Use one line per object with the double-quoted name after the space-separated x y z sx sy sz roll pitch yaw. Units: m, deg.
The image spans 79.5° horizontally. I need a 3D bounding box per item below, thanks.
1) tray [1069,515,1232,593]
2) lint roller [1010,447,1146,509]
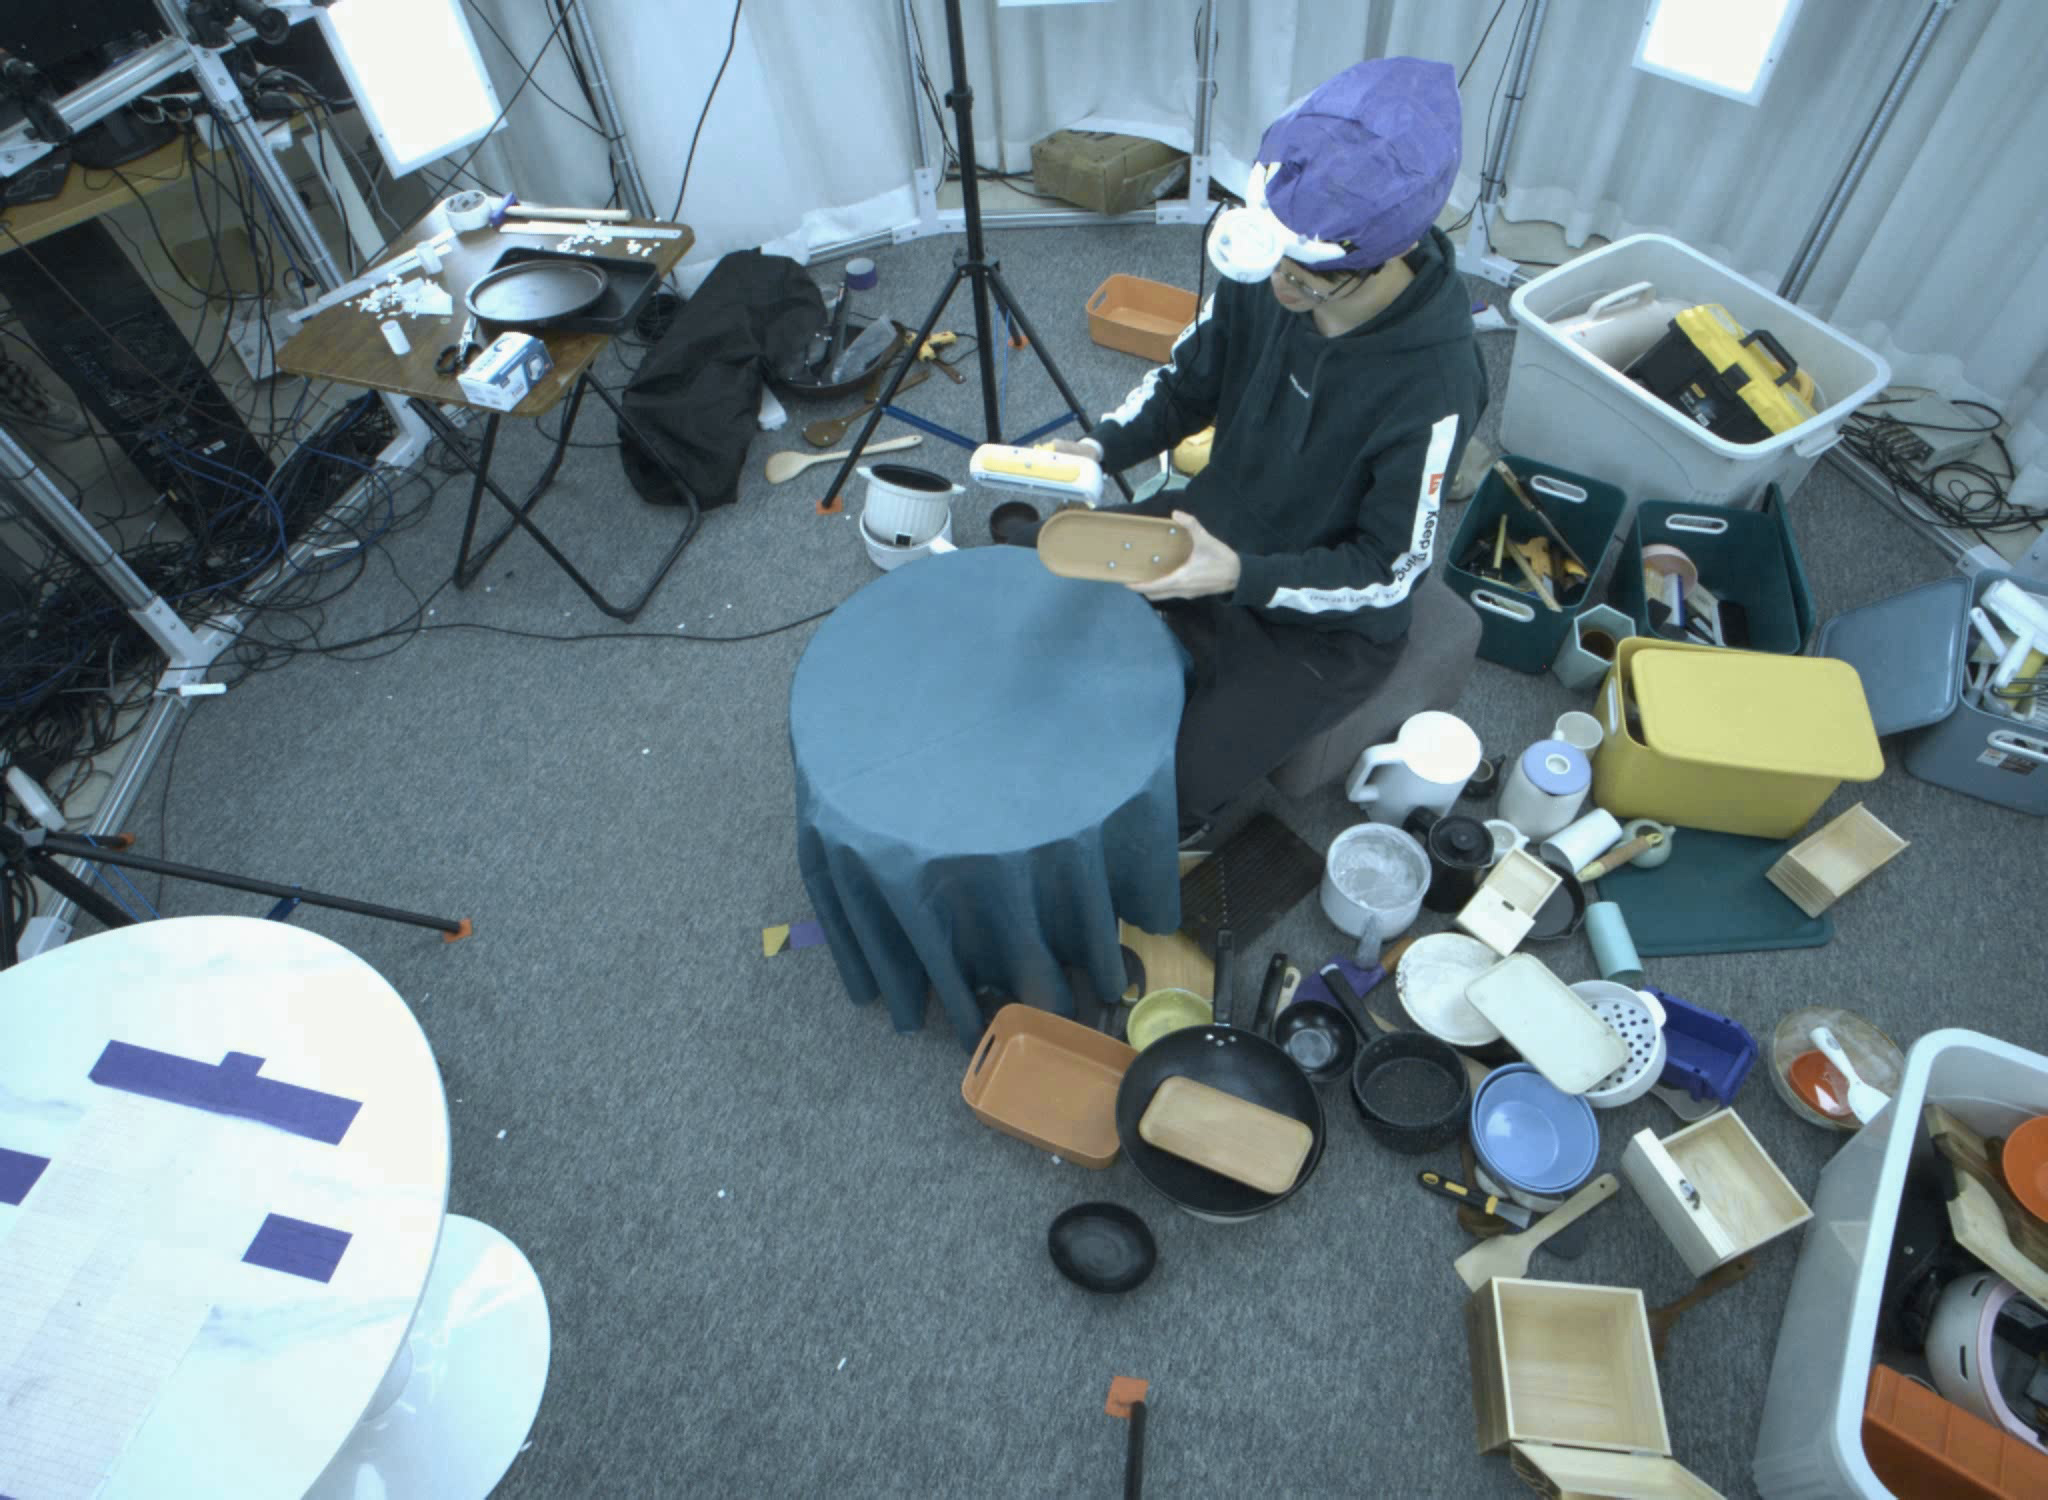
0.176 -0.274 1.713 0.232 0.102 0.020 5 34 -7 "tray"
0.089 -0.382 1.747 0.191 0.194 0.074 11 92 14 "lint roller"
